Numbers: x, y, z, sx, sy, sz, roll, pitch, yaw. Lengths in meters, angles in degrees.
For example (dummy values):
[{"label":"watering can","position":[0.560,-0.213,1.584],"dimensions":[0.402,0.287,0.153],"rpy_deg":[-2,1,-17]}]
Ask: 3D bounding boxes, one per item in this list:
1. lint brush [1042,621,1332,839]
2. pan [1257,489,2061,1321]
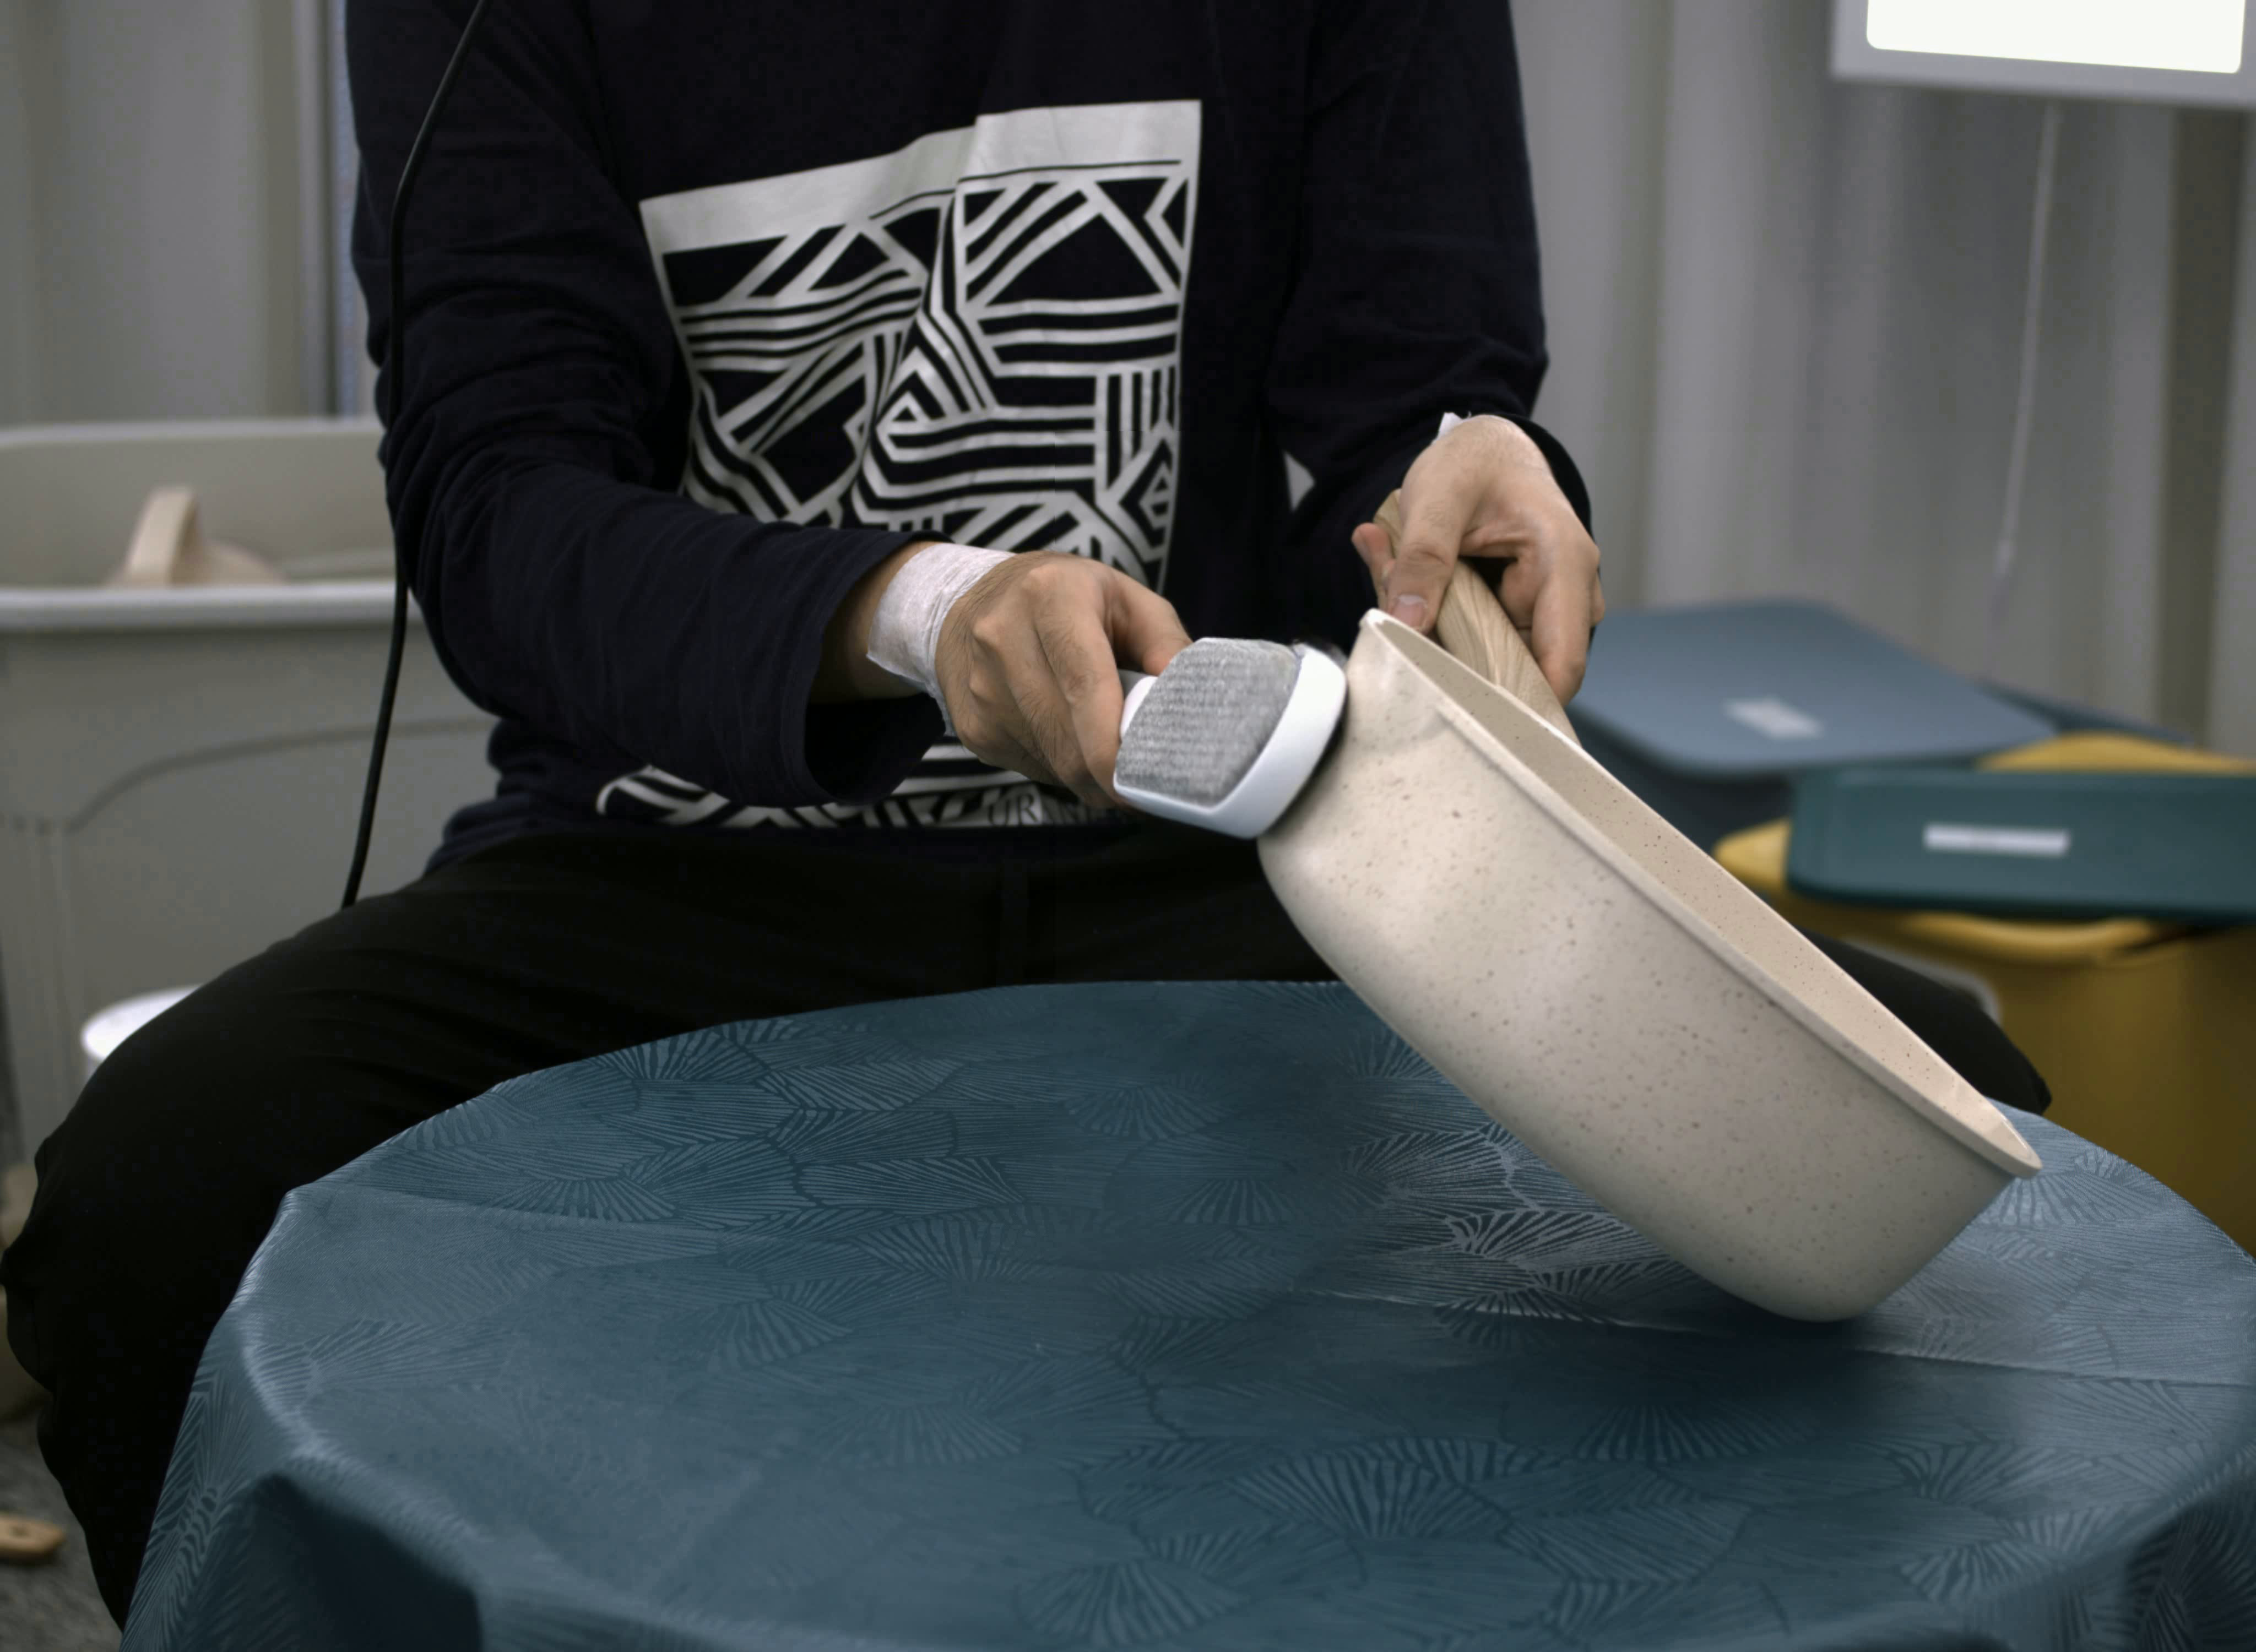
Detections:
[{"label":"lint brush","position":[0.013,-0.033,1.586],"dimensions":[0.021,0.060,0.307],"rpy_deg":[27,-2,-12]},{"label":"pan","position":[0.124,0.010,1.599],"dimensions":[0.266,0.102,0.430],"rpy_deg":[32,10,-25]}]
